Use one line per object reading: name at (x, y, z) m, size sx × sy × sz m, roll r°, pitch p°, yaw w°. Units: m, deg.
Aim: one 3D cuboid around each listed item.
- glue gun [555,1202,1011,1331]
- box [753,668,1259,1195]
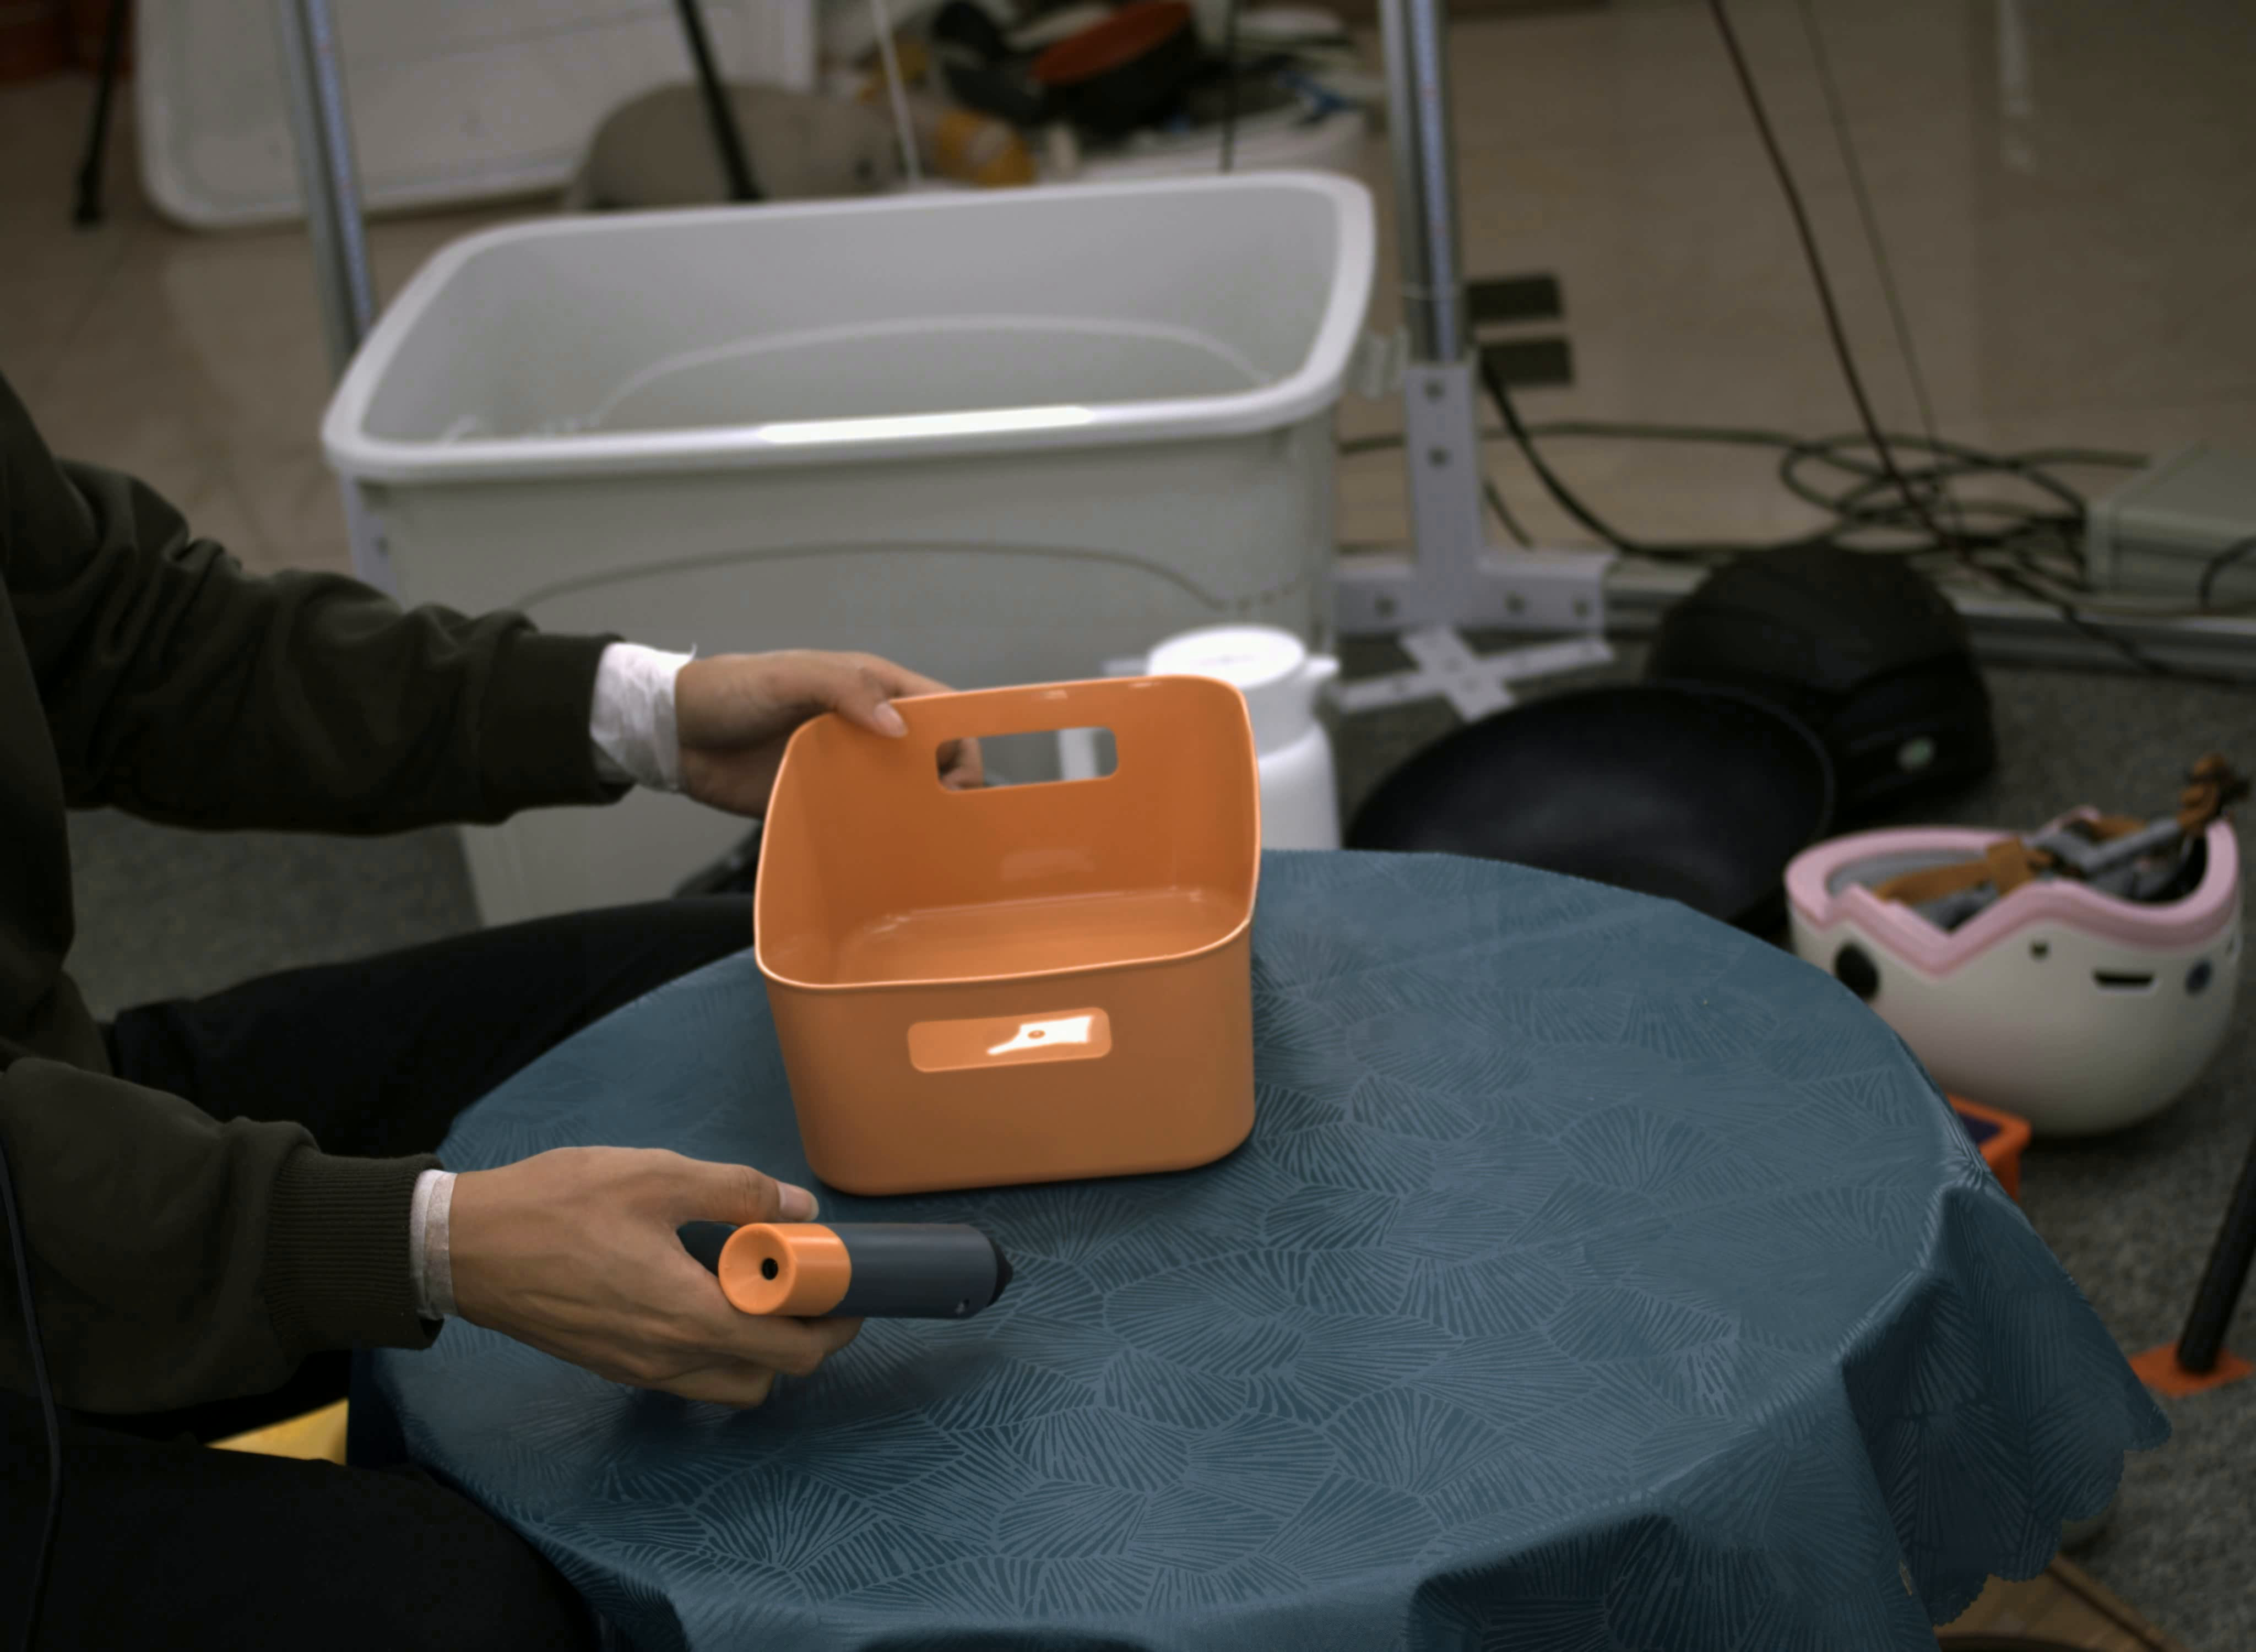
glue gun at (-0.124, 0.159, 2.032) m, size 0.139 × 0.041 × 0.118 m, roll 1°, pitch -7°, yaw 29°
box at (-0.042, 0.042, 2.243) m, size 0.199 × 0.104 × 0.269 m, roll -5°, pitch 26°, yaw 2°
